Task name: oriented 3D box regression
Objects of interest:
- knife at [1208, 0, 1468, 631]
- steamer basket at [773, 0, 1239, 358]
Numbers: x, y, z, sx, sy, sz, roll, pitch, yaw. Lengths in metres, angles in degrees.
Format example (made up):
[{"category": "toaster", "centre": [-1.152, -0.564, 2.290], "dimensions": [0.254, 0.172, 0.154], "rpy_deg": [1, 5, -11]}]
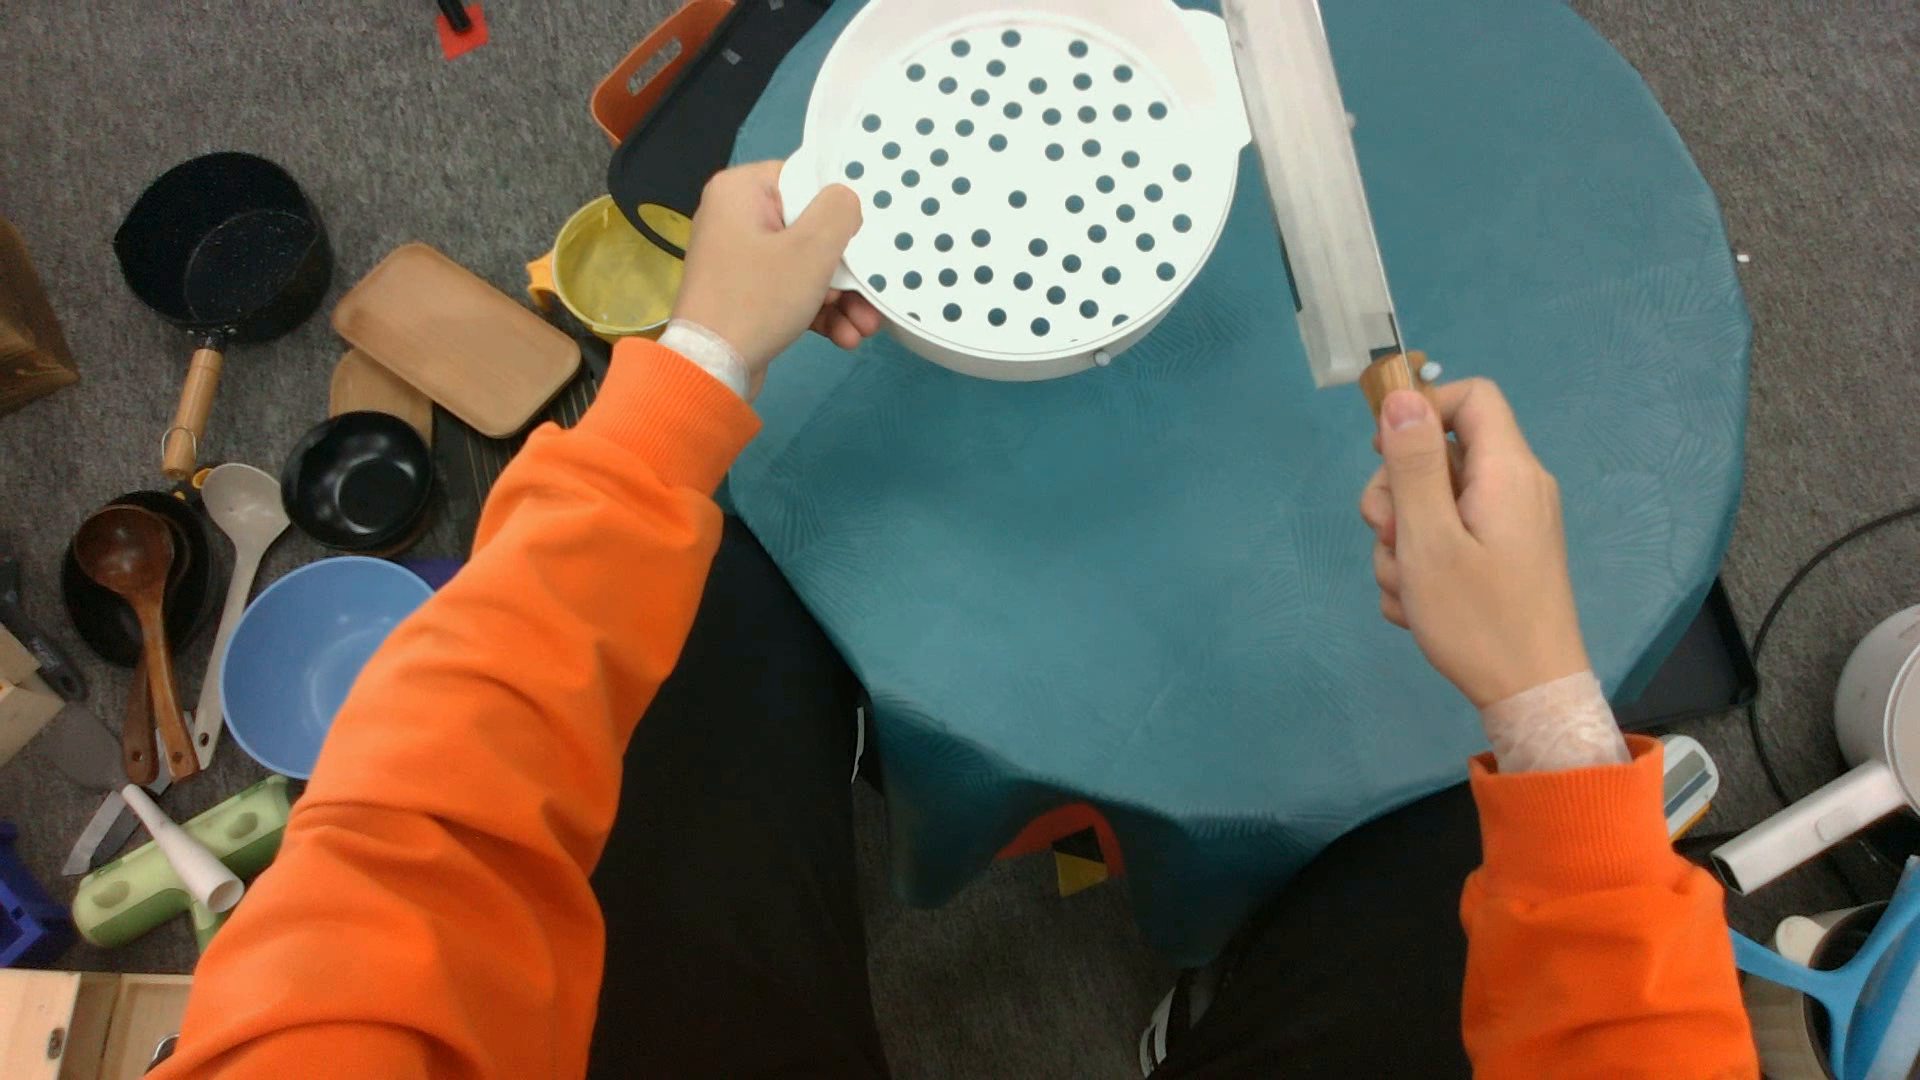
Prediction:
[{"category": "knife", "centre": [0.154, -0.111, 0.589], "dimensions": [0.021, 0.093, 0.305], "rpy_deg": [-17, 95, -9]}, {"category": "steamer basket", "centre": [0.025, -0.190, 0.669], "dimensions": [0.231, 0.069, 0.202], "rpy_deg": [-22, 83, -6]}]
